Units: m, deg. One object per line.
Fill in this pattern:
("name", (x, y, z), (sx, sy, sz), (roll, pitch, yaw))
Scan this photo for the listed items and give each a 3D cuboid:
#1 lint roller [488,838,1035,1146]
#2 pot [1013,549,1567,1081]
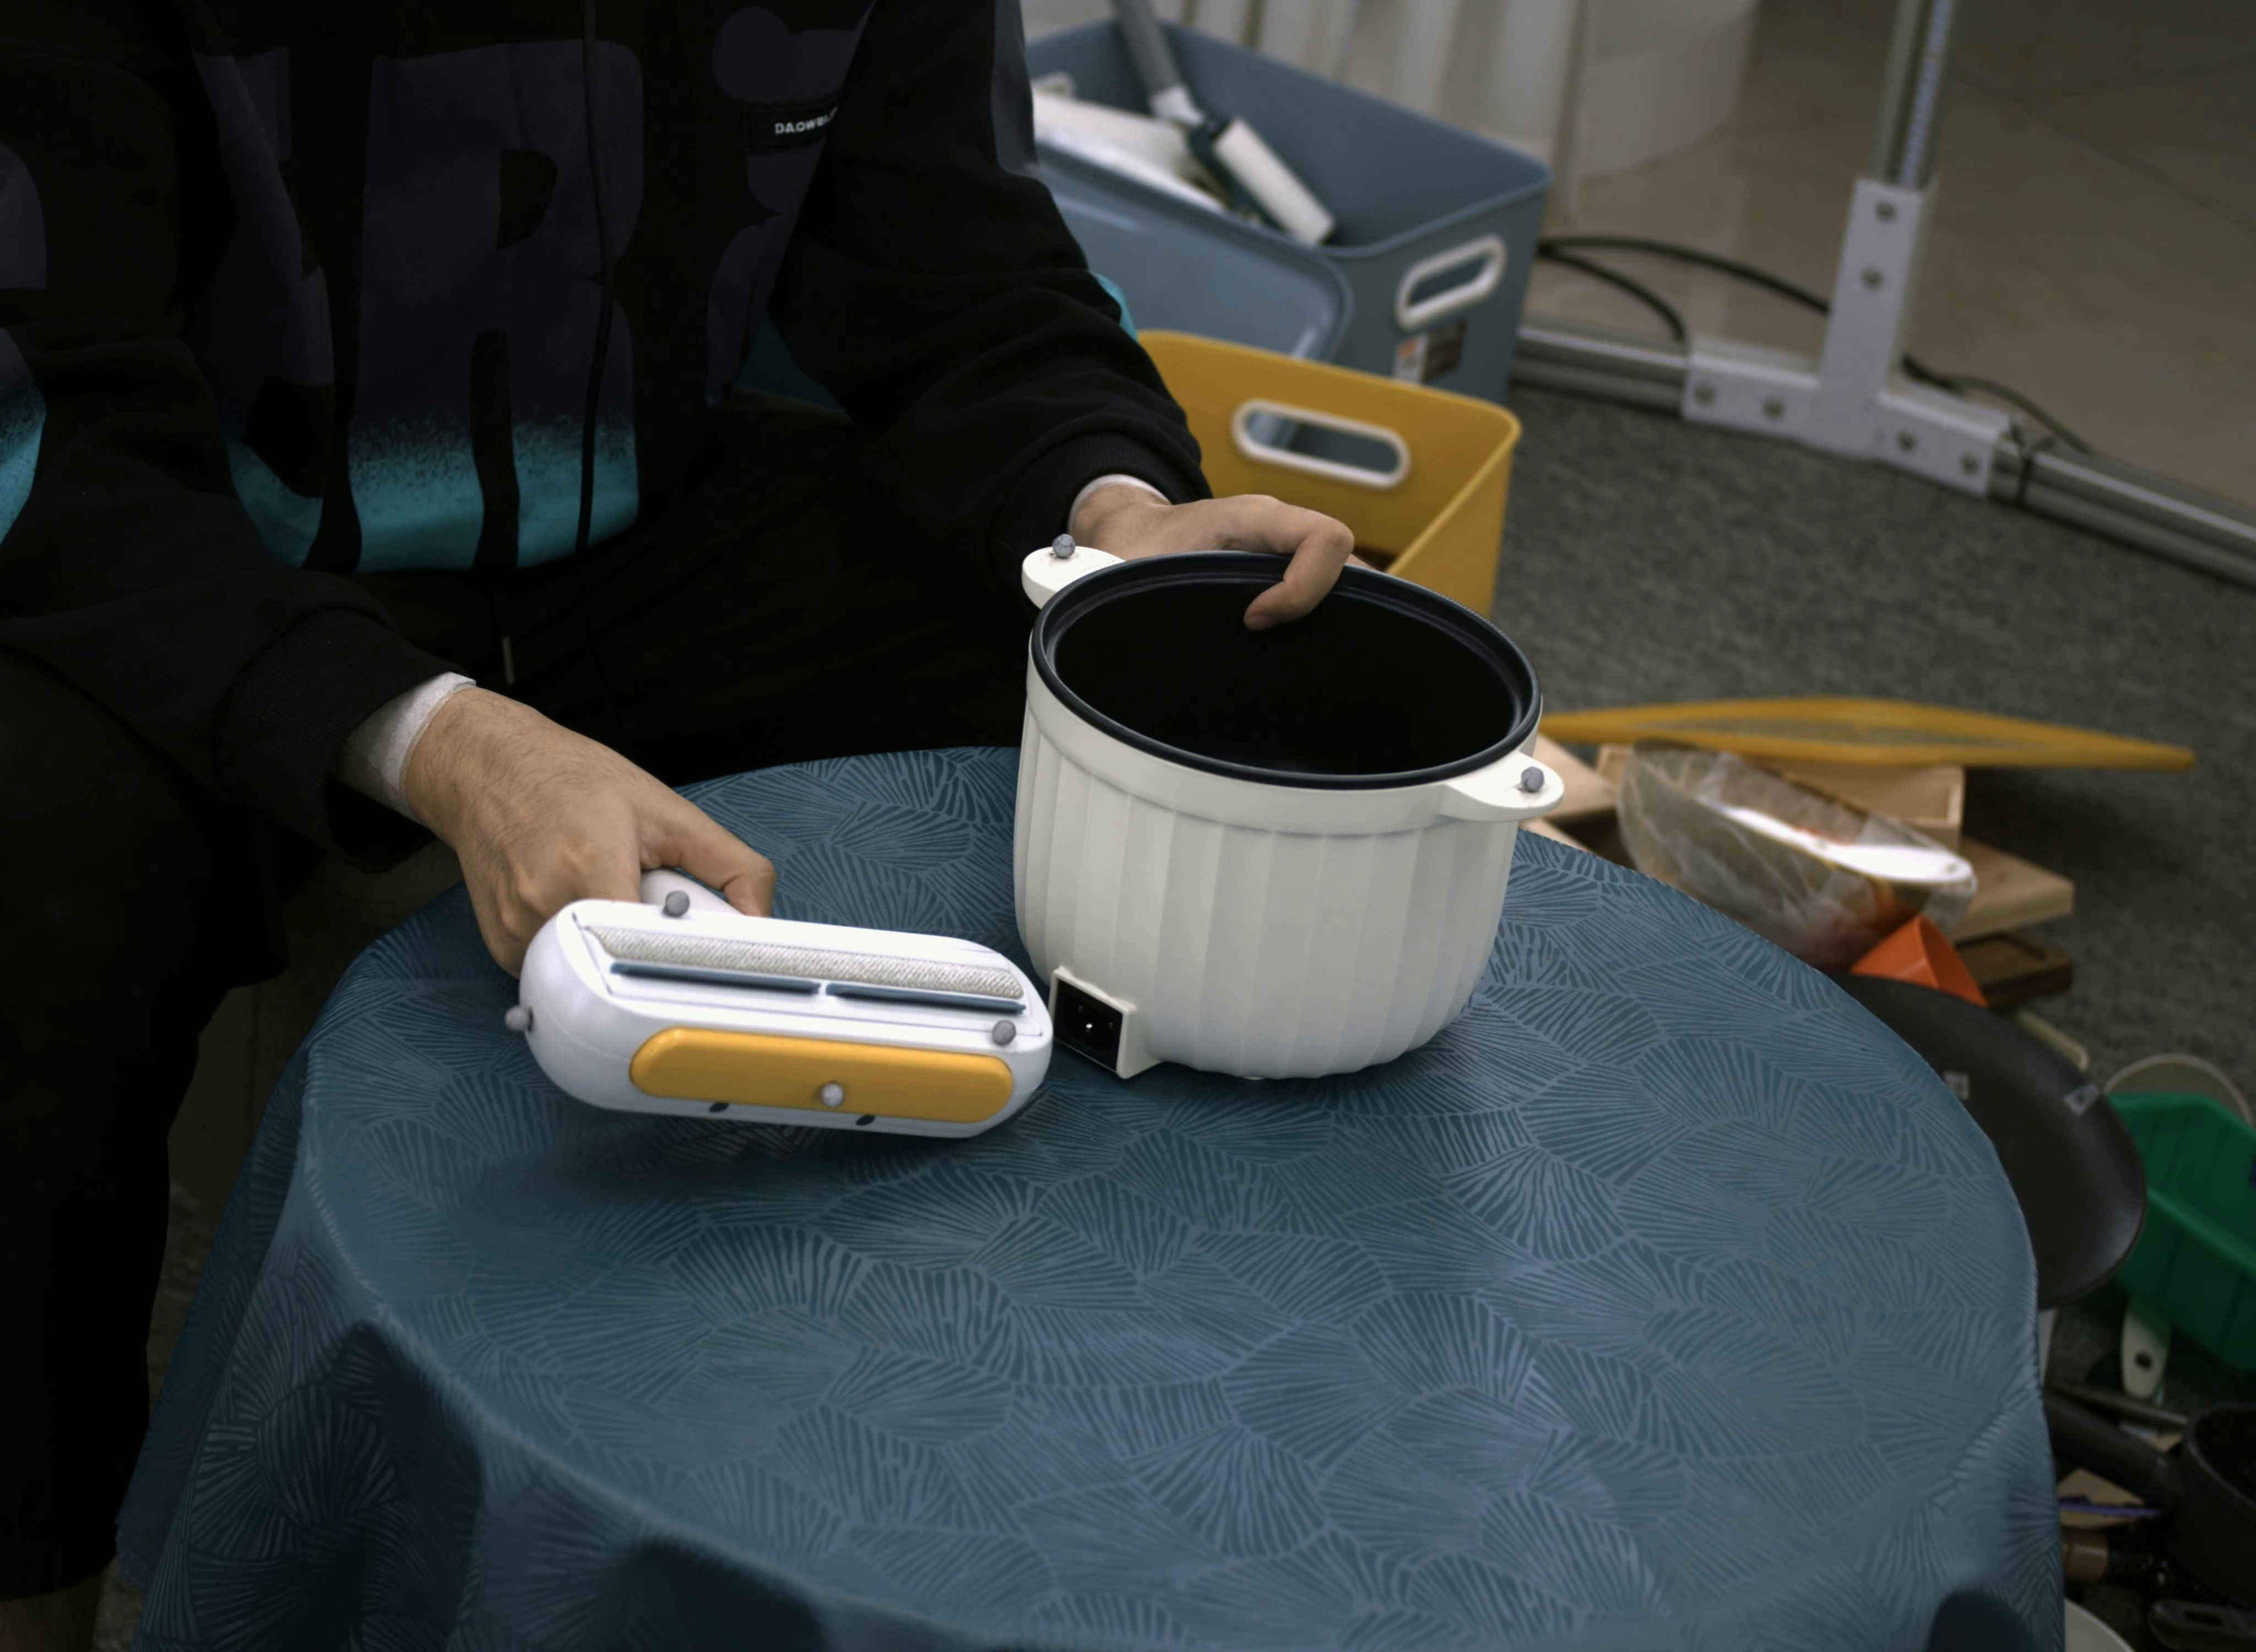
("lint roller", (-0.145, 0.043, 1.831), (0.191, 0.074, 0.194), (4, 28, -27))
("pot", (0.051, -0.002, 1.903), (0.242, 0.142, 0.190), (27, 36, 33))
